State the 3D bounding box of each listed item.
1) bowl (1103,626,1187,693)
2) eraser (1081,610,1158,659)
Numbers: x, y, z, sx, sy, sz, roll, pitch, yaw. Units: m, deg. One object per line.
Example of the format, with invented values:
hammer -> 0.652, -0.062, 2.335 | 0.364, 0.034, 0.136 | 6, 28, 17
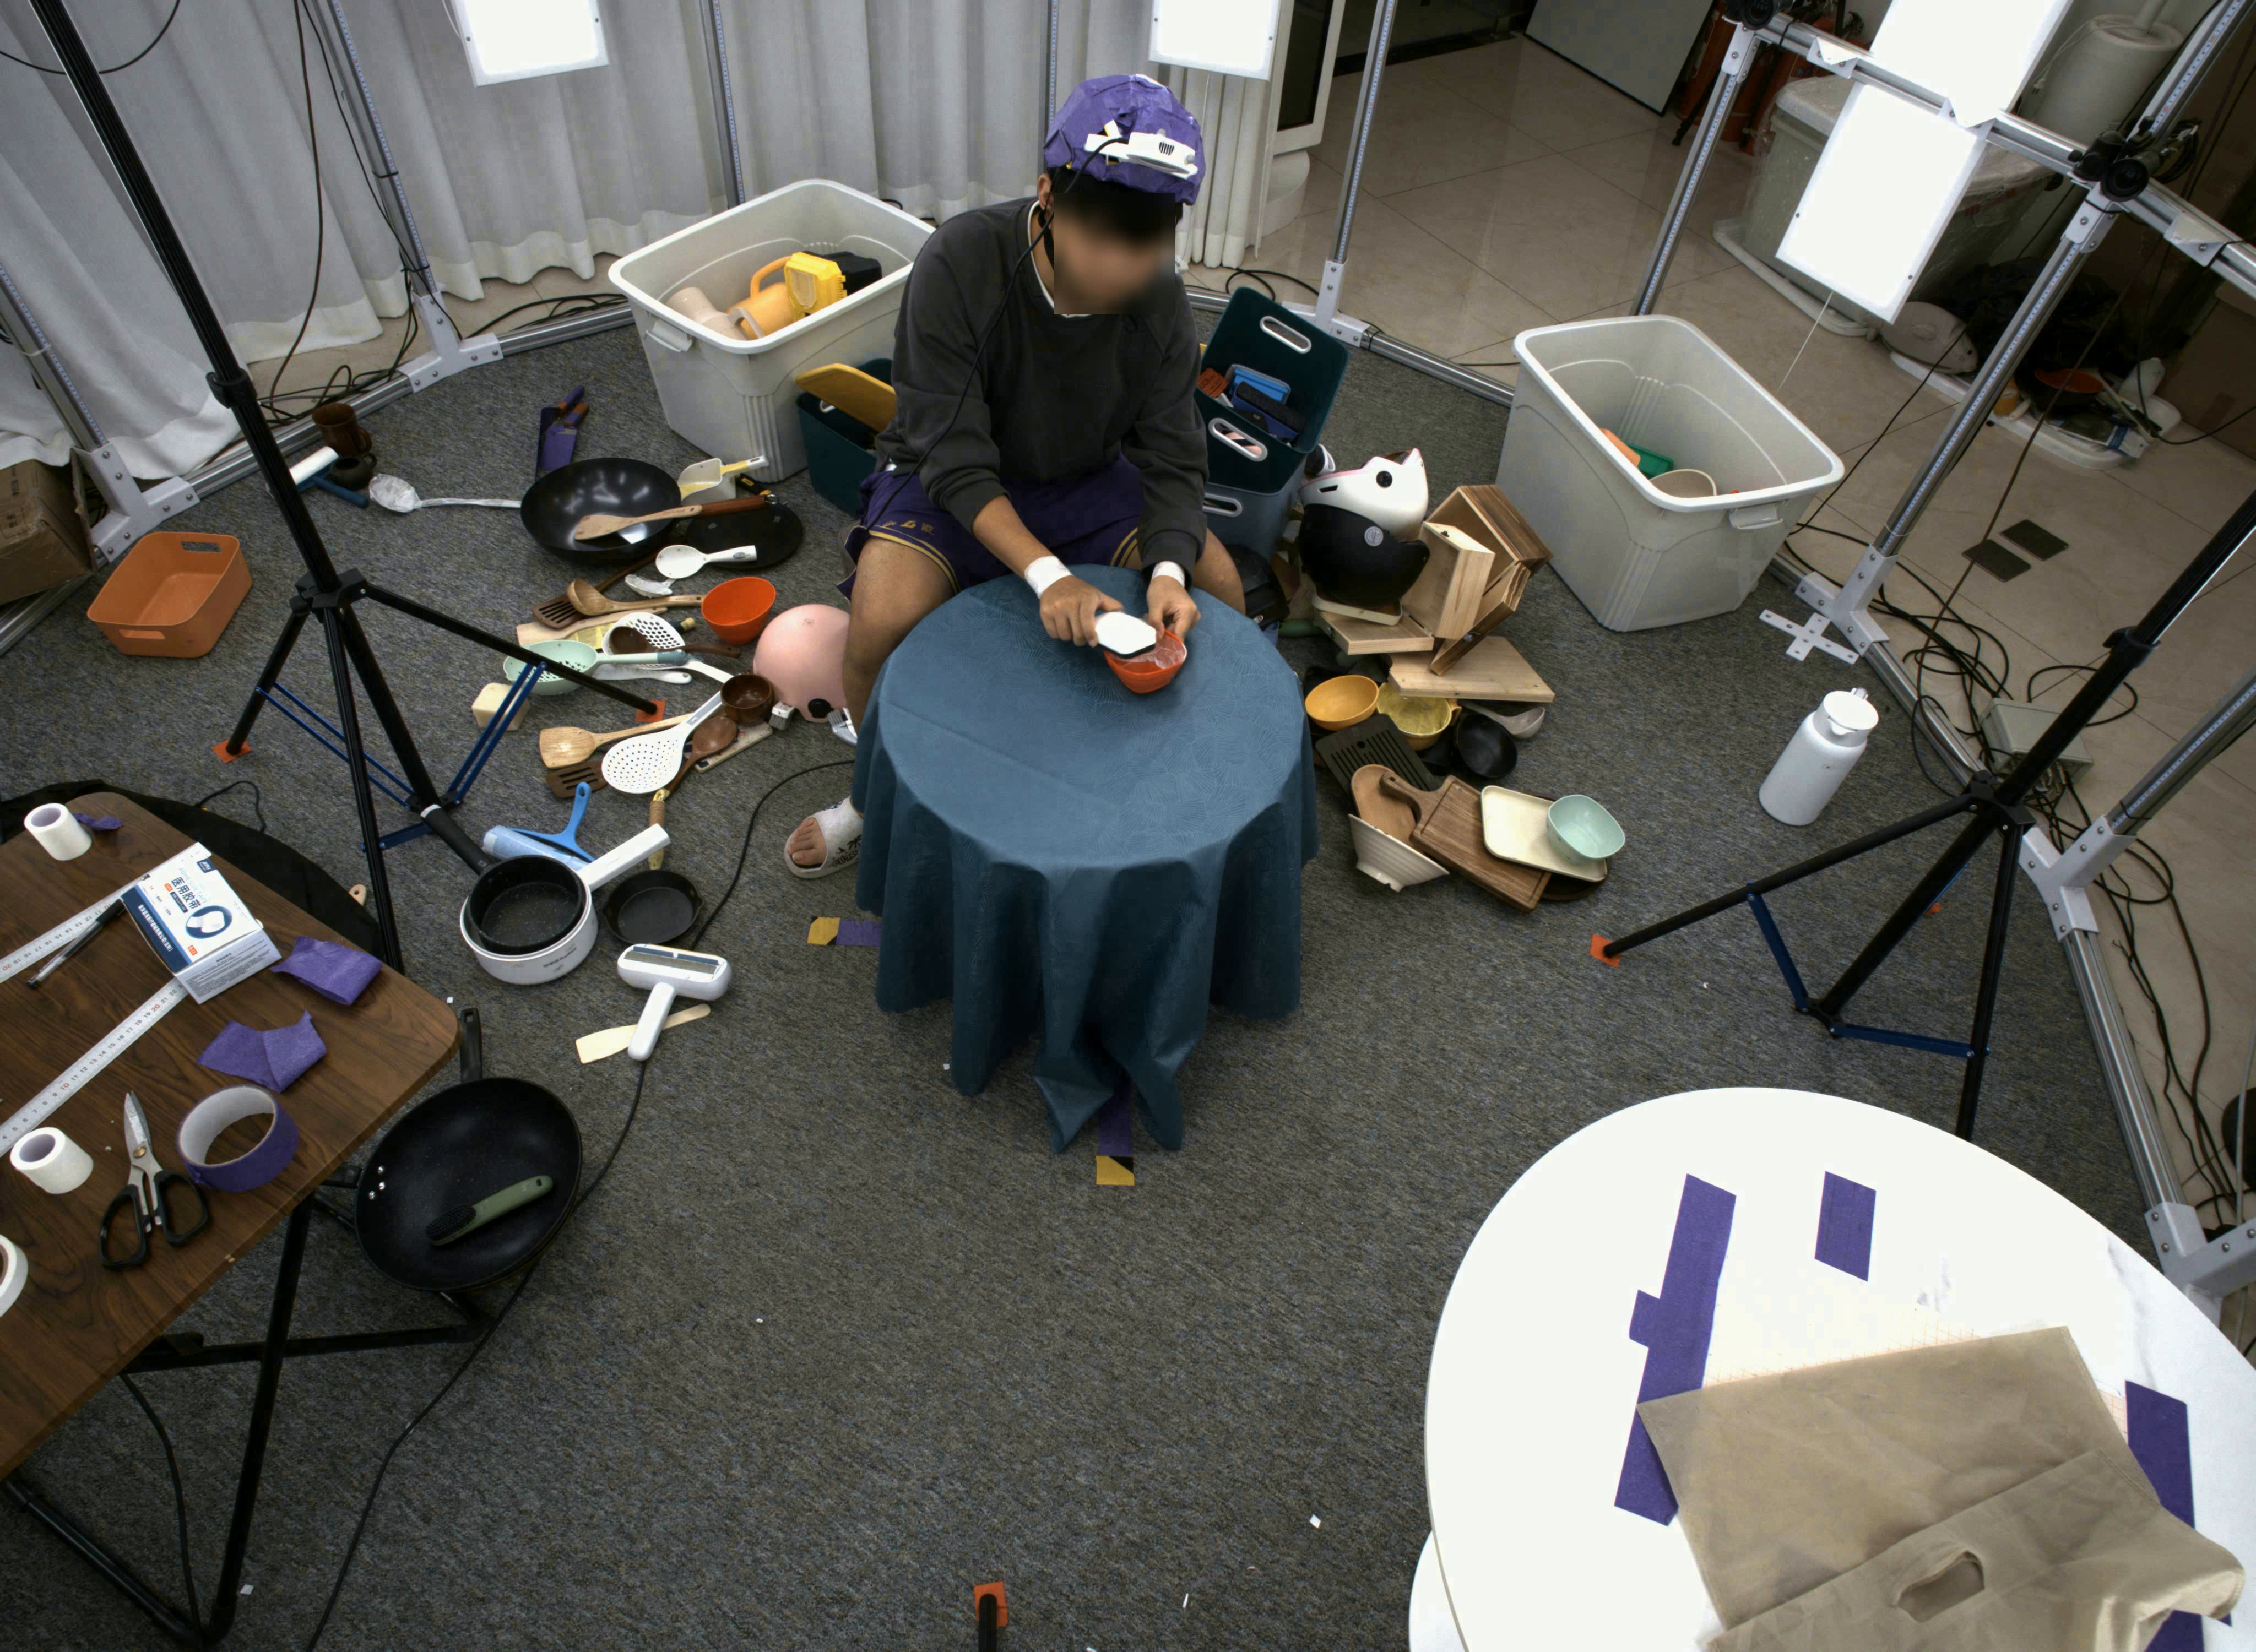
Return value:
bowl -> 0.024, -0.233, 1.832 | 0.119, 0.050, 0.122 | -1, 42, 0
eraser -> -0.011, -0.274, 1.809 | 0.063, 0.034, 0.133 | -23, 34, -23
